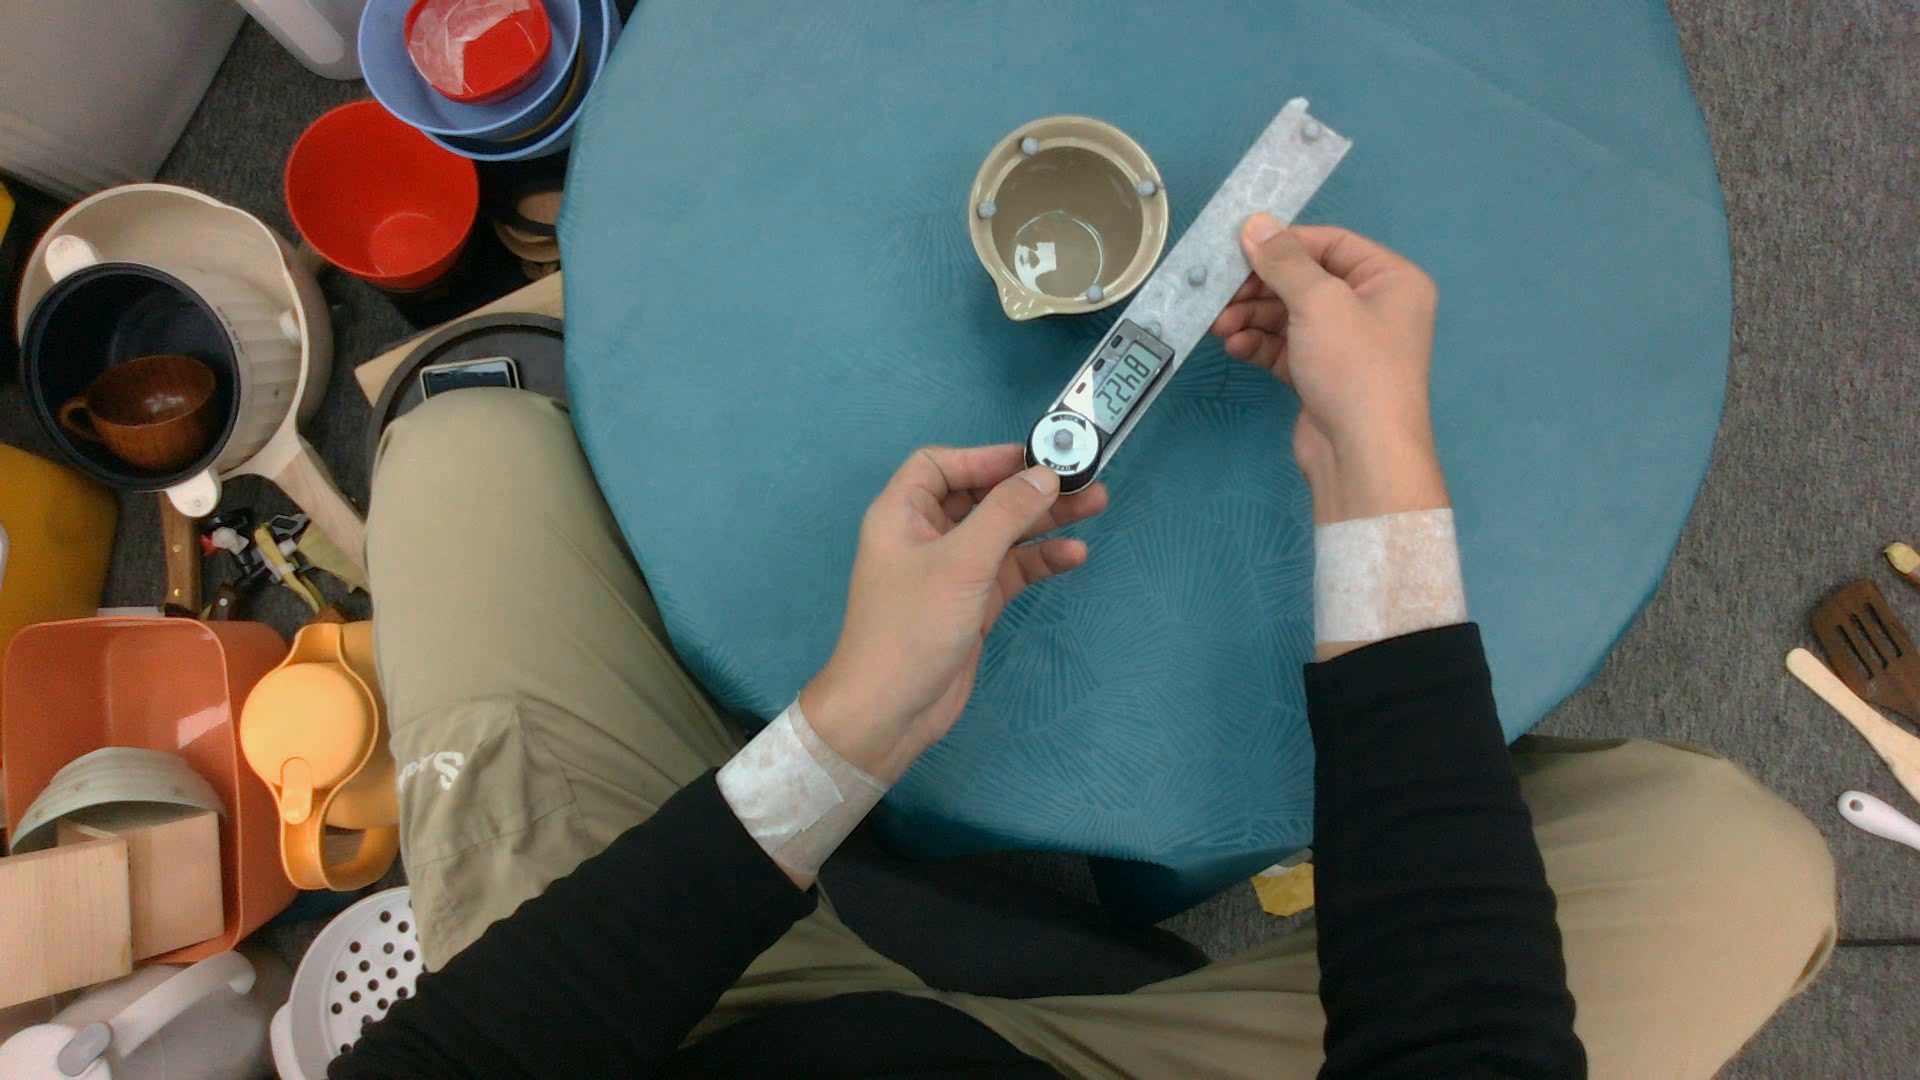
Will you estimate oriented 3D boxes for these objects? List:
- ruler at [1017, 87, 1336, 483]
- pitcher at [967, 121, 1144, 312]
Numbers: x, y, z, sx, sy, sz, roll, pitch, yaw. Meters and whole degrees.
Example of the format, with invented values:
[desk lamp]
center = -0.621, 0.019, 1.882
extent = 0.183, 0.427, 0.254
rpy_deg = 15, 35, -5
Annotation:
[ruler]
center = 0.098, -0.117, 0.618
extent = 0.038, 0.024, 0.218
rpy_deg = 37, 81, 2
[pitcher]
center = 0.041, -0.146, 0.668
extent = 0.083, 0.071, 0.096
rpy_deg = 28, 83, 1
